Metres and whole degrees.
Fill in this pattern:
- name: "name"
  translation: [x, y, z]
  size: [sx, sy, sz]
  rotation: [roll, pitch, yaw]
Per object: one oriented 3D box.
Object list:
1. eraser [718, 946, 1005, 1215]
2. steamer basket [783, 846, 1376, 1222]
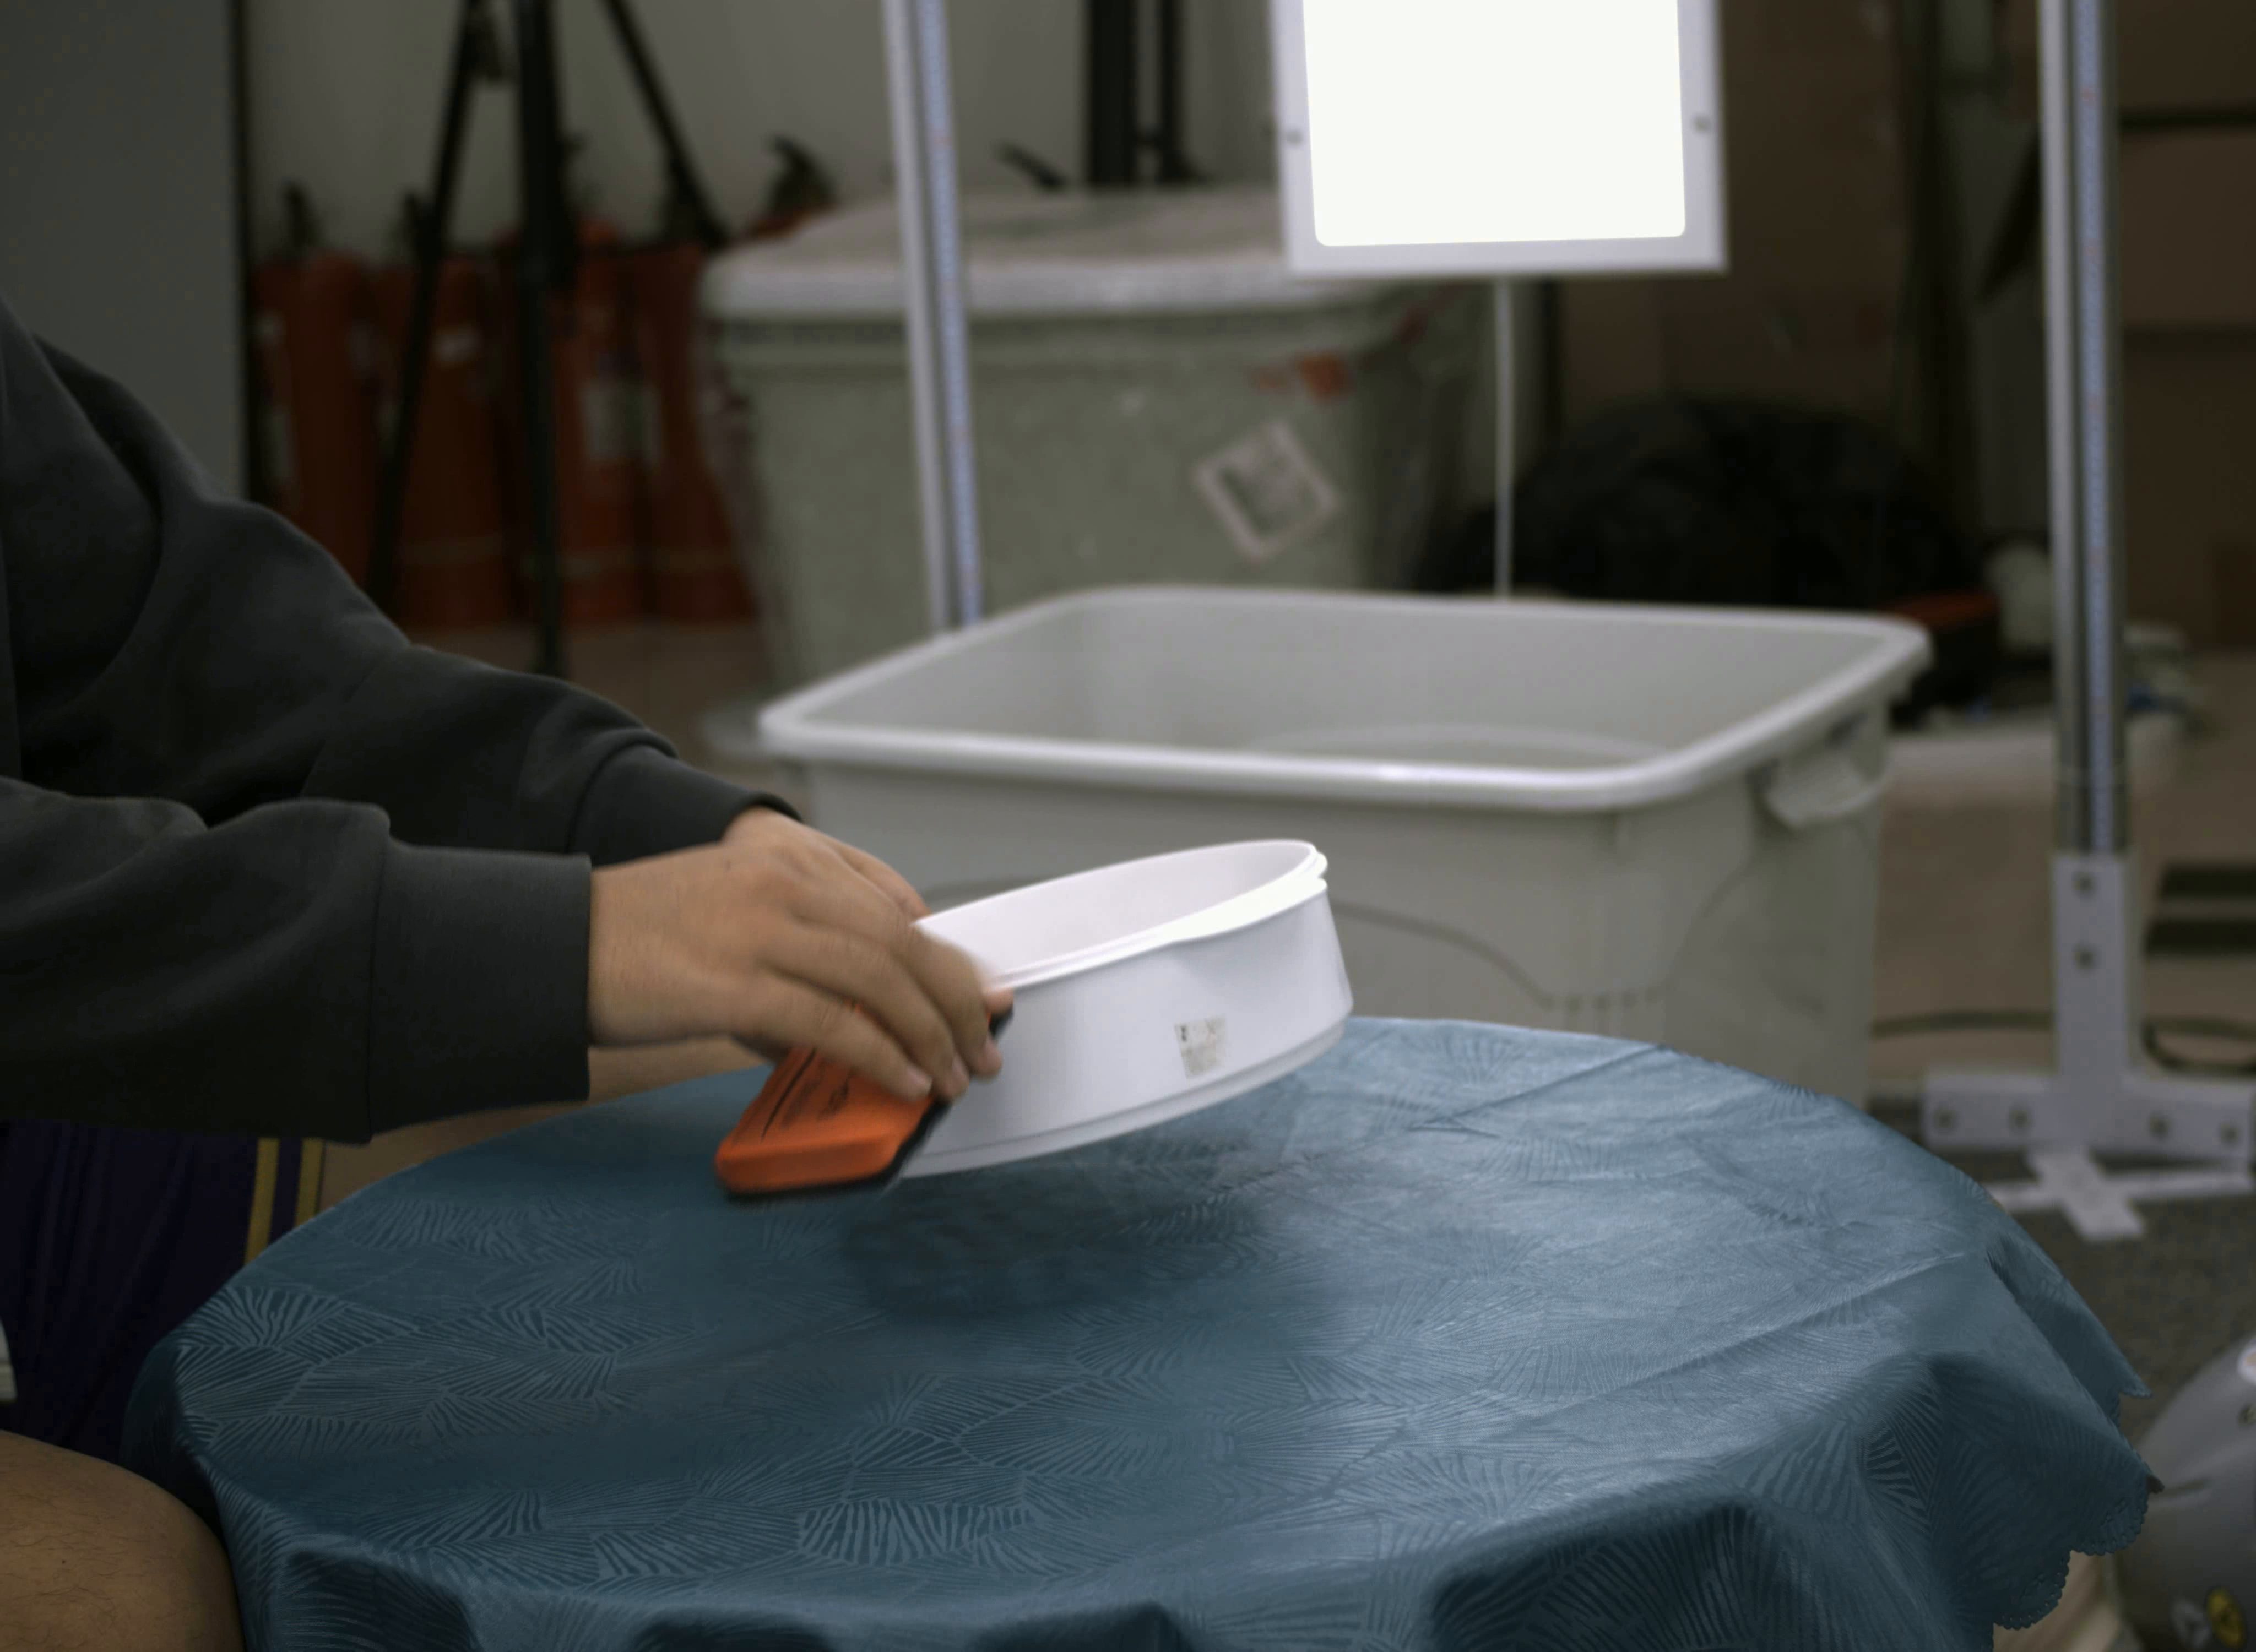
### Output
- name: "eraser"
  translation: [-0.082, 0.079, 1.722]
  size: [0.060, 0.023, 0.106]
  rotation: [-15, 26, 33]
- name: "steamer basket"
  translation: [-0.014, 0.072, 1.871]
  size: [0.236, 0.069, 0.197]
  rotation: [-13, 10, 46]
